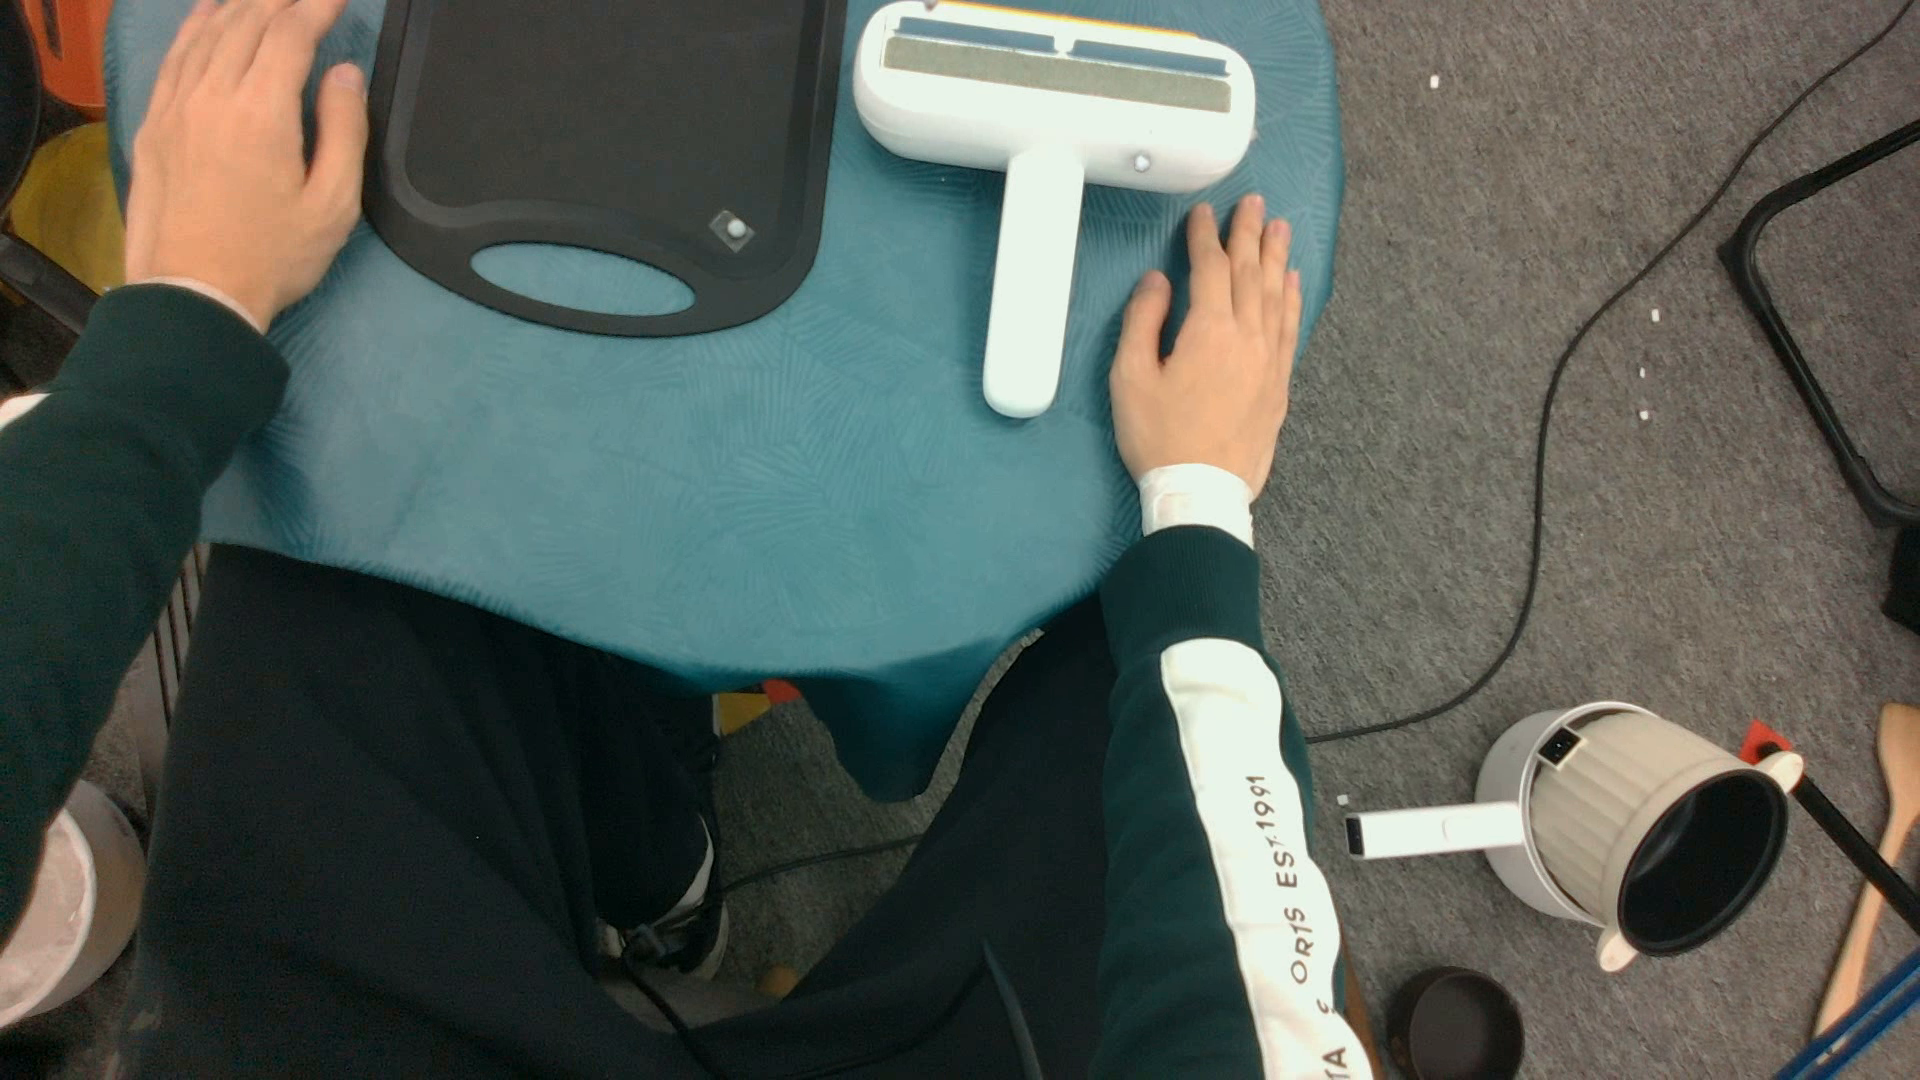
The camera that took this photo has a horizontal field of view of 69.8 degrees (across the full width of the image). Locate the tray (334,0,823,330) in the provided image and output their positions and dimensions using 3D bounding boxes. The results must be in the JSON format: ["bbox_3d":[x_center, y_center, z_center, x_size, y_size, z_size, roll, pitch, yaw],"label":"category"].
[{"bbox_3d":[-0.172,-0.258,0.662,0.211,0.010,0.326,7,78,-13],"label":"tray"}]

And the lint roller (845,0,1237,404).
[{"bbox_3d":[0.027,-0.163,0.685,0.193,0.074,0.192,12,92,-6],"label":"lint roller"}]
